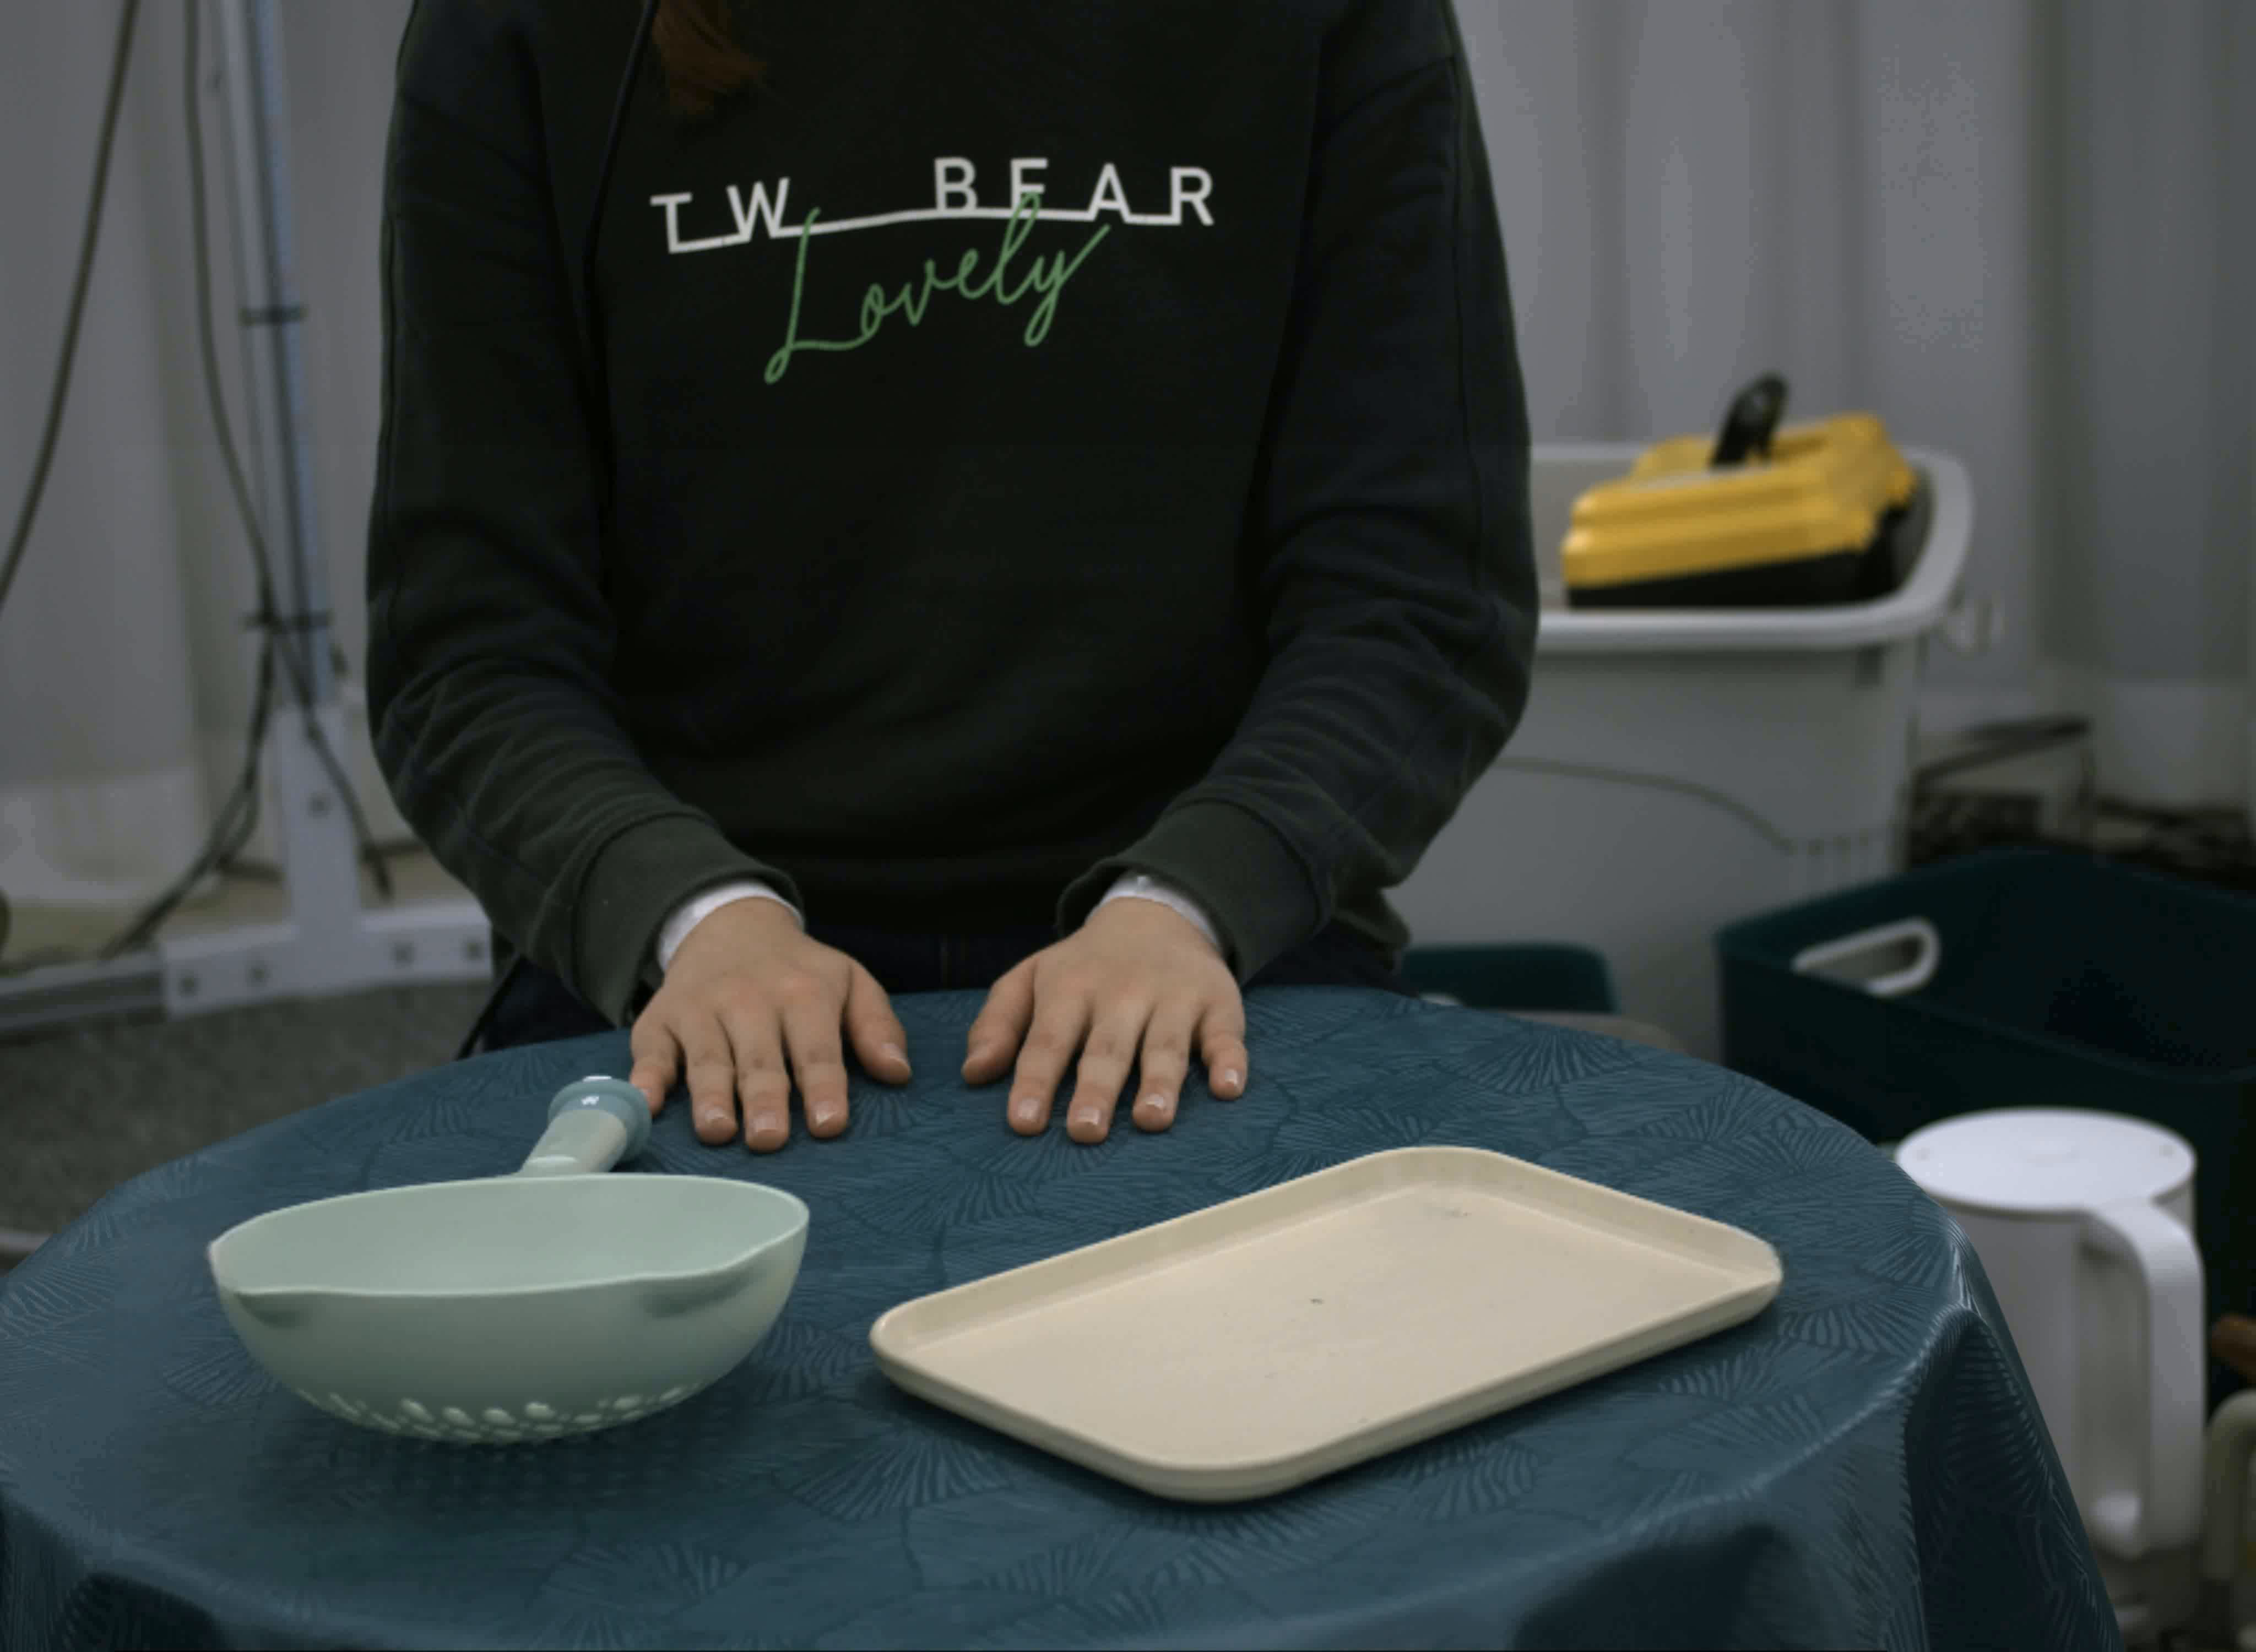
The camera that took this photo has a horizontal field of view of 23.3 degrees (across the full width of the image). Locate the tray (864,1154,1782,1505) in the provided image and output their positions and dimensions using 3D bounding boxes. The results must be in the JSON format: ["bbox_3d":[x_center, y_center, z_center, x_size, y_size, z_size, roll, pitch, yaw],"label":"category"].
[{"bbox_3d":[0.057,0.143,1.567,0.239,0.017,0.172,-14,19,-38],"label":"tray"}]

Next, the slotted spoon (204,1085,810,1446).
[{"bbox_3d":[-0.171,0.115,1.627,0.169,0.075,0.361,-2,14,1],"label":"slotted spoon"}]
